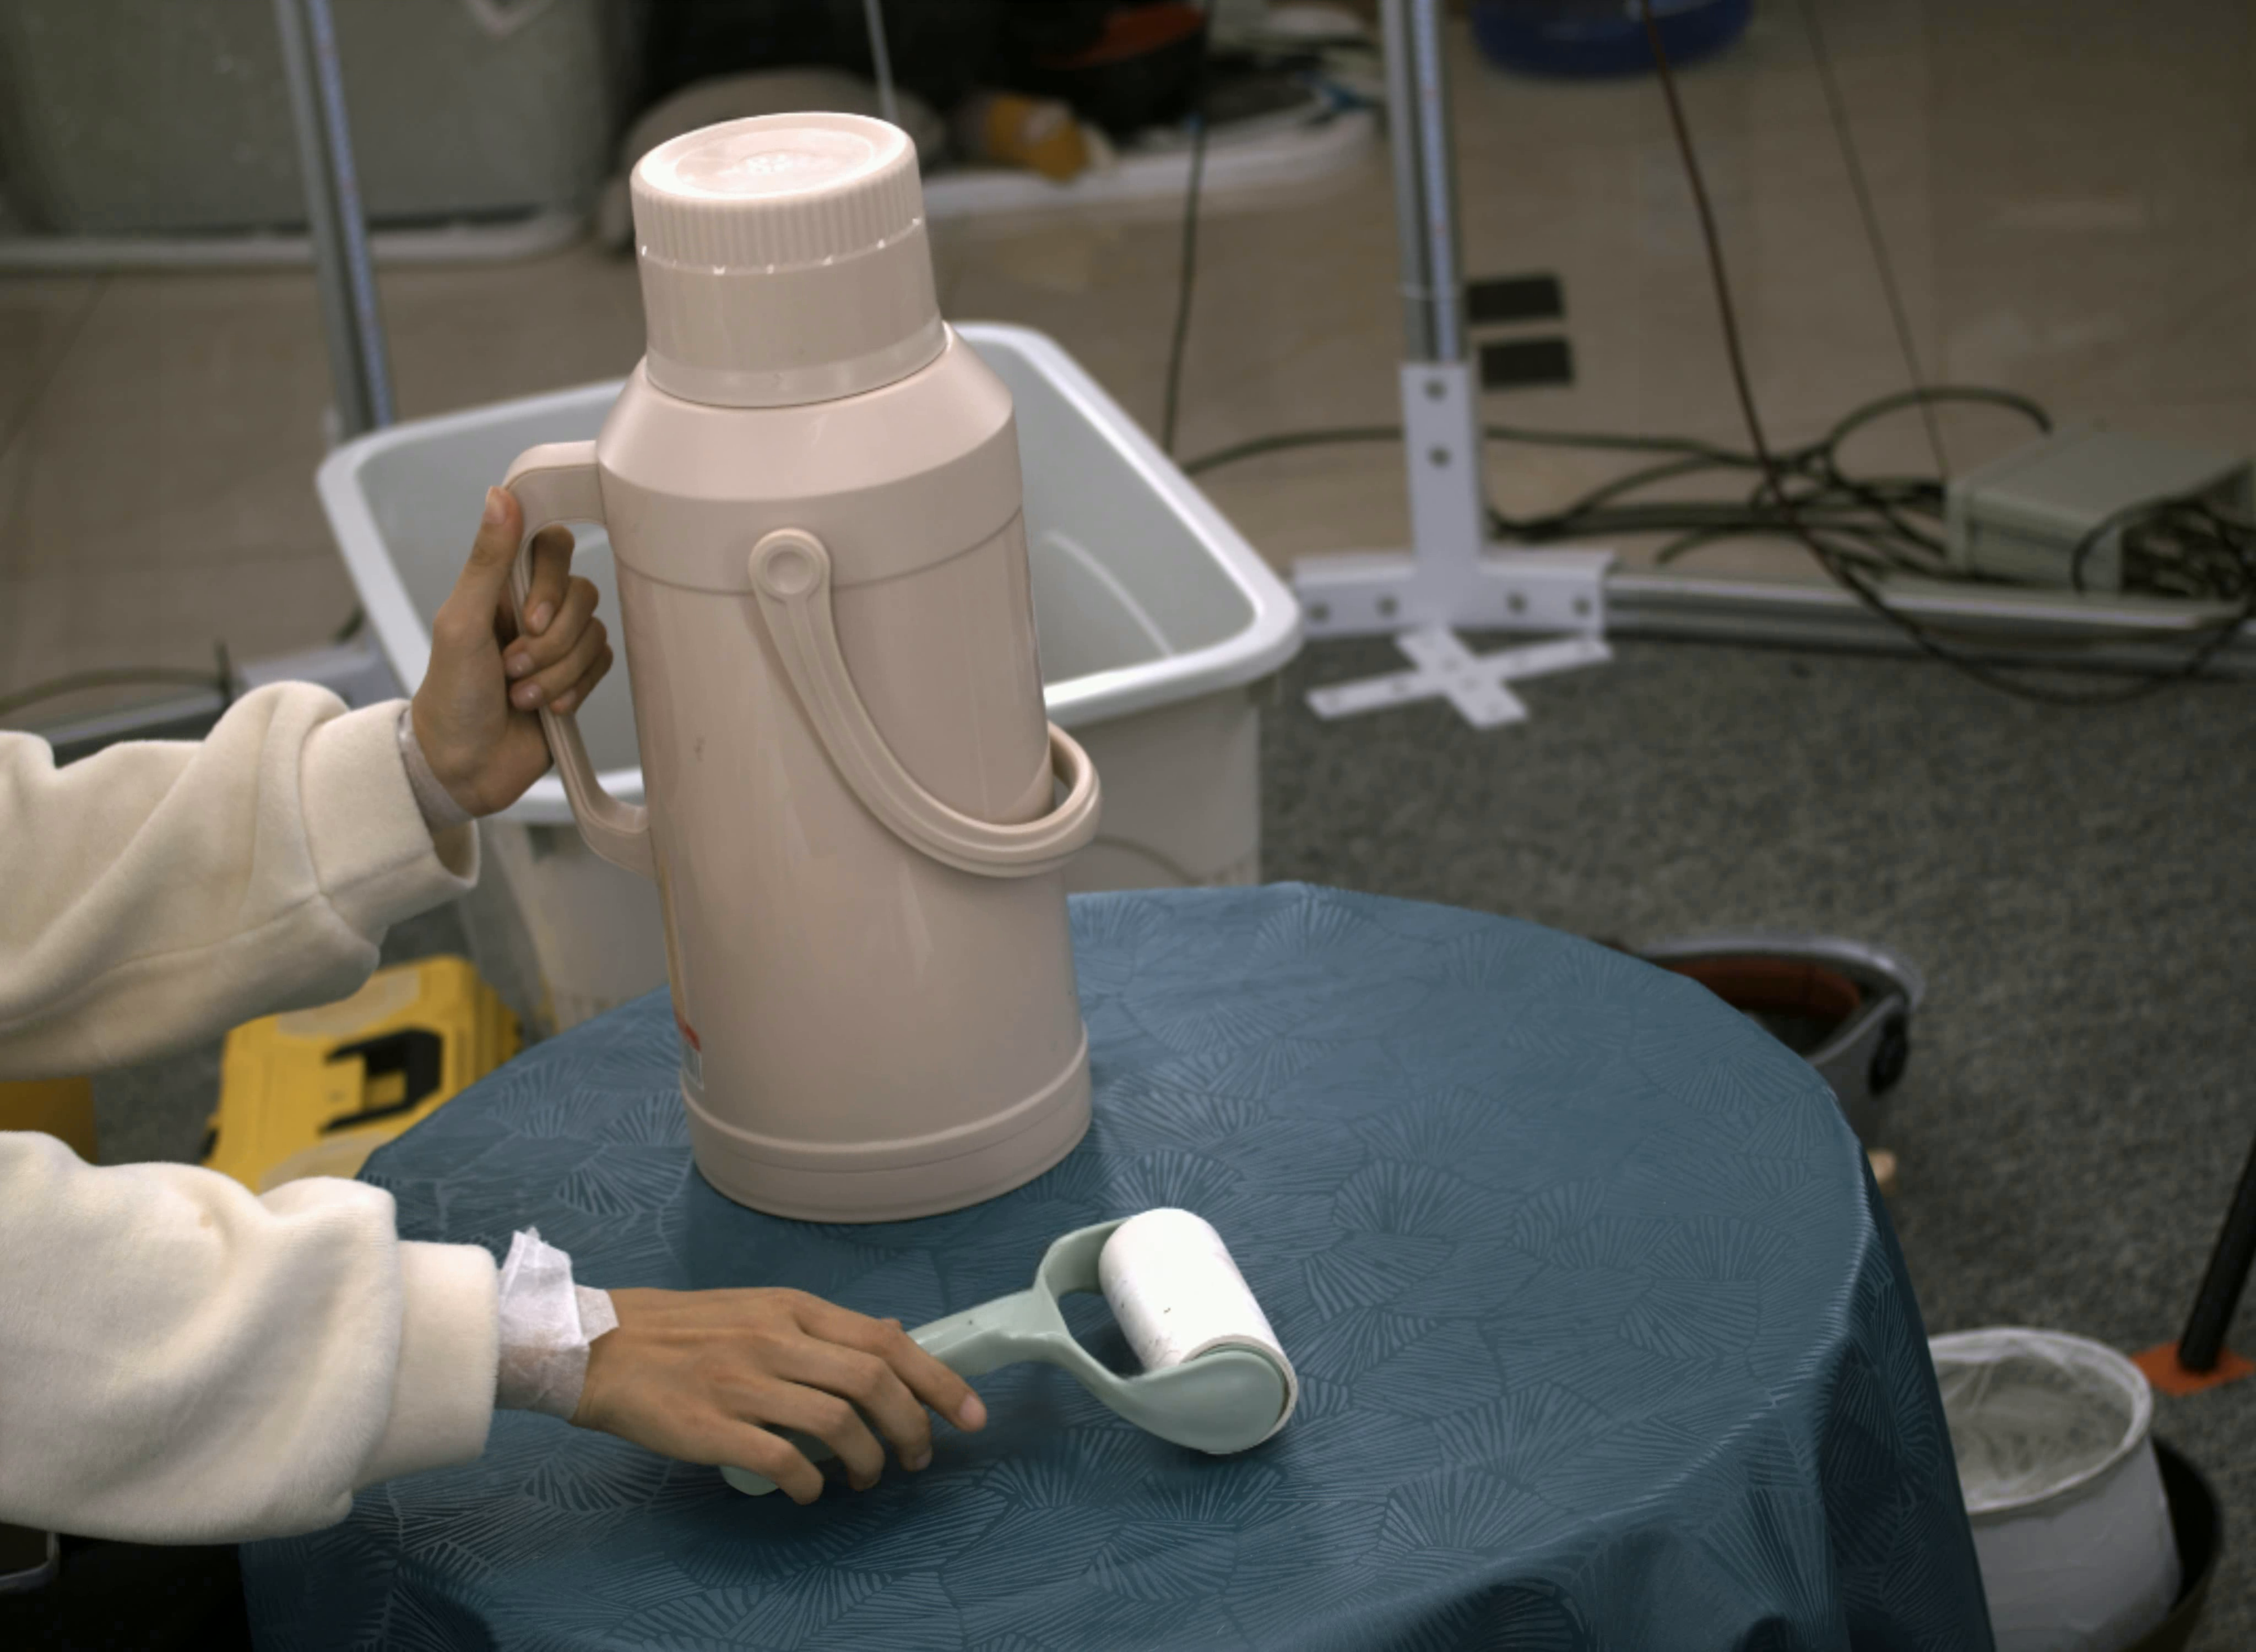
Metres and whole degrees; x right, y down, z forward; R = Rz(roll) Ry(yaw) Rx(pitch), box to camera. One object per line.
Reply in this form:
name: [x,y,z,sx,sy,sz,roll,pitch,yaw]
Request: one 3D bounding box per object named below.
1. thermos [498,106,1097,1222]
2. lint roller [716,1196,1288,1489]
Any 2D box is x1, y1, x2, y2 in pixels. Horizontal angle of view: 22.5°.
thermos: [-0.123,-0.061,2.129,0.207,0.413,0.172,-4,26,4]
lint roller: [-0.051,0.188,1.999,0.197,0.049,0.115,-11,28,-9]
